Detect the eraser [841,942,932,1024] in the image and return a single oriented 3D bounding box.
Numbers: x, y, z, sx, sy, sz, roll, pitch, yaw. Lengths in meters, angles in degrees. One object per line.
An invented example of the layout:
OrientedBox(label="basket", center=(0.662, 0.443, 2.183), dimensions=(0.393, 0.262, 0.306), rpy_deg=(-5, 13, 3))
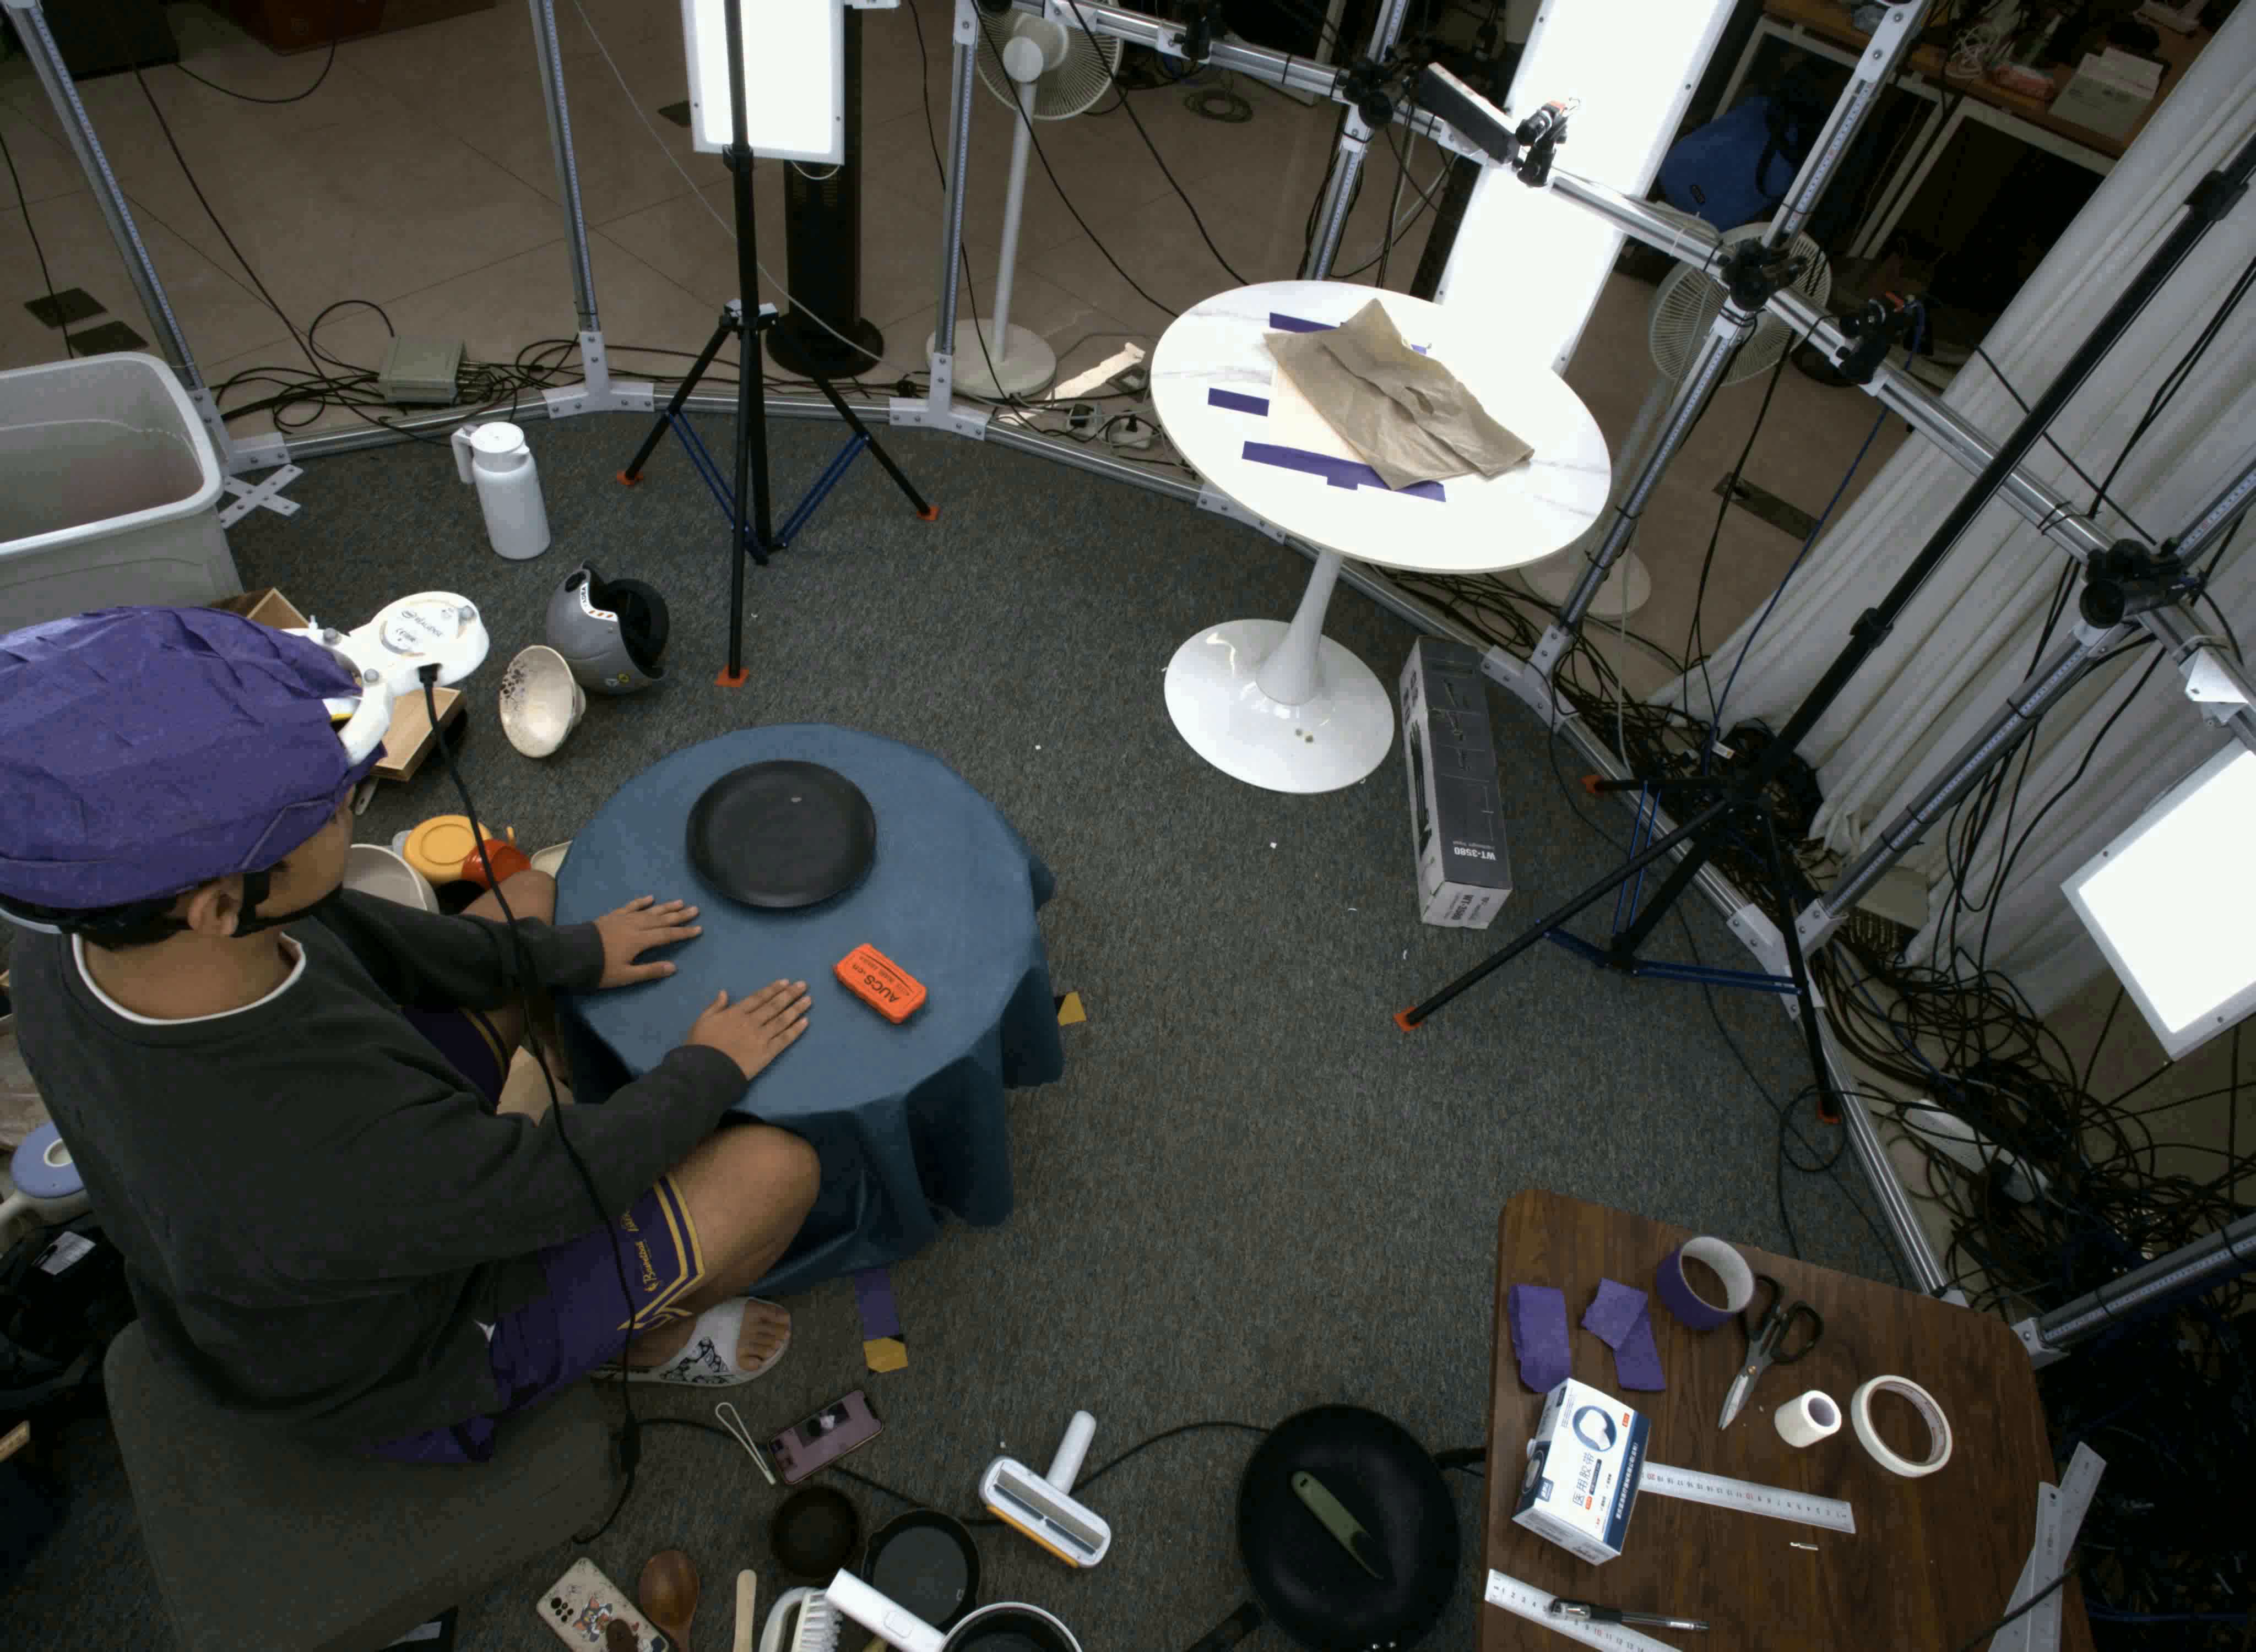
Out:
OrientedBox(label="eraser", center=(-0.298, 0.190, 1.600), dimensions=(0.106, 0.023, 0.059), rpy_deg=(34, 52, 14))

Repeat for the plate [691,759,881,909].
OrientedBox(label="plate", center=(-0.447, 0.011, 1.700), dimensions=(0.244, 0.024, 0.240), rpy_deg=(8, 52, -9))
